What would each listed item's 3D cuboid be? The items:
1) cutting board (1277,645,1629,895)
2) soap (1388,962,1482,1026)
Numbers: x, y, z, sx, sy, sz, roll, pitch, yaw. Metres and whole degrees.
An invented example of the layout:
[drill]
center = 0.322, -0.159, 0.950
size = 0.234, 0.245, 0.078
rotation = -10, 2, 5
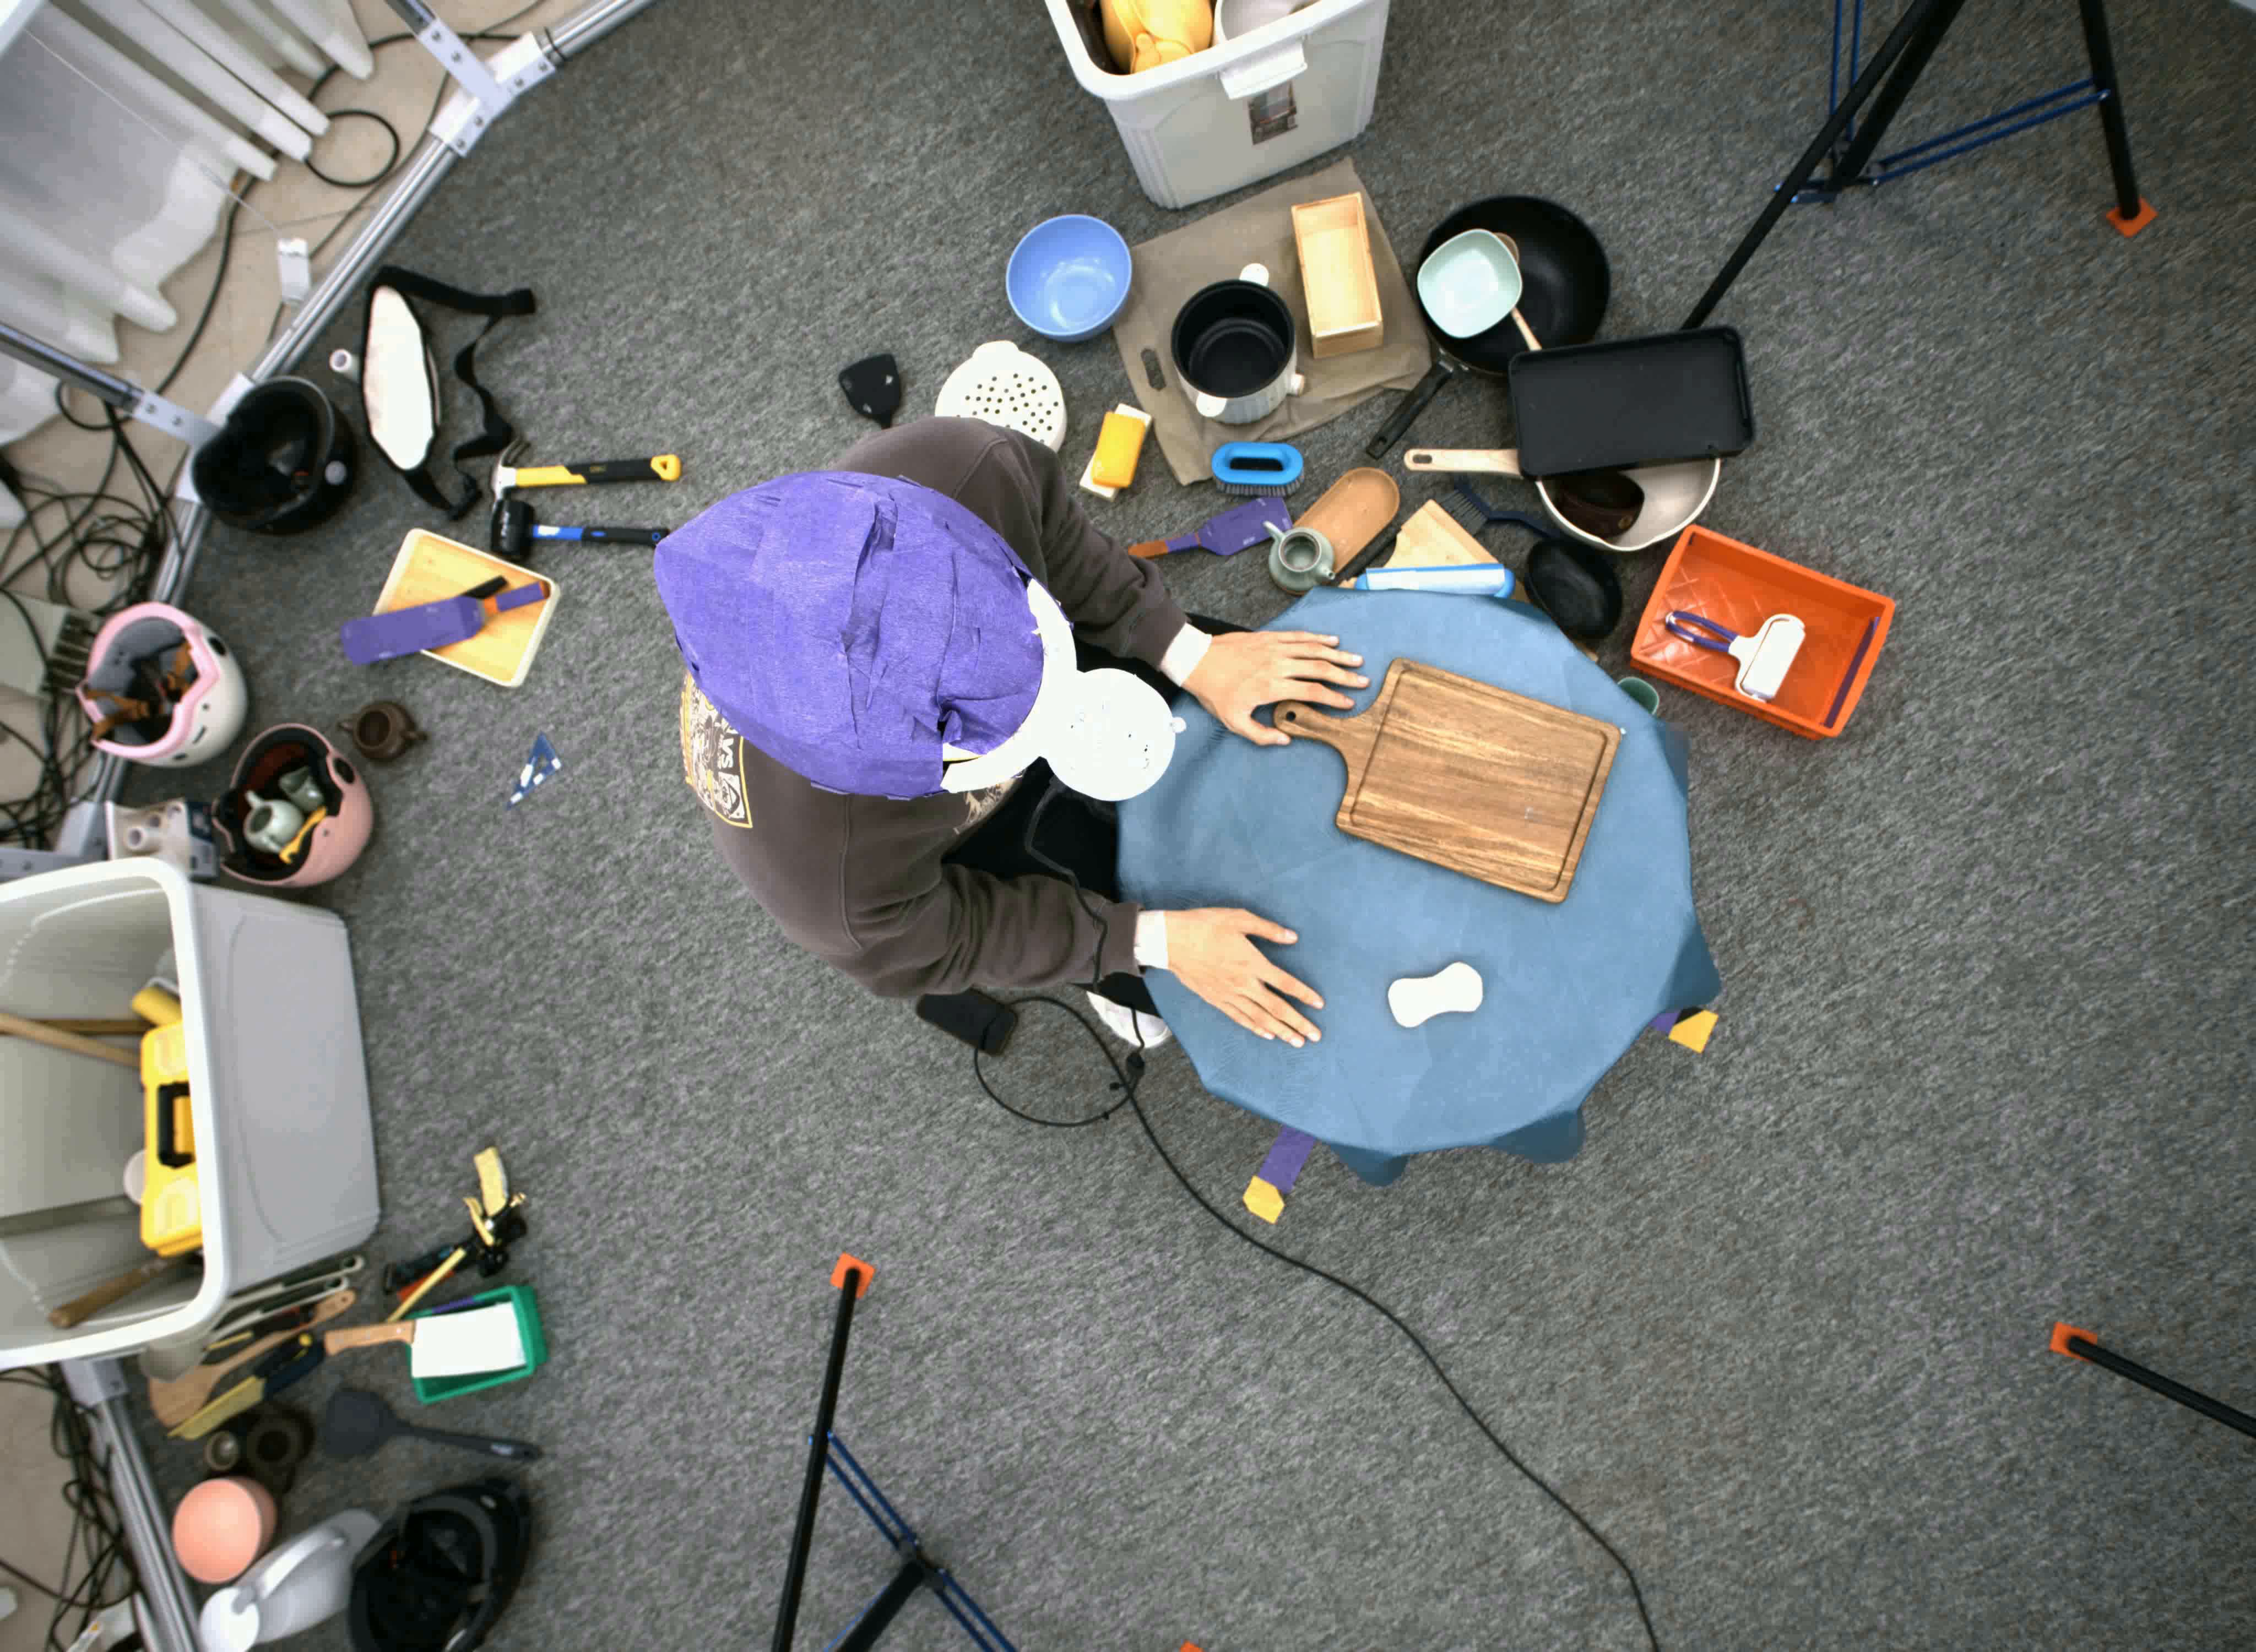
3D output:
[cutting board]
center = 0.325, -0.079, 1.444
size = 0.352, 0.023, 0.201
rotation = 20, 91, 11
[soap]
center = 0.318, 0.172, 1.430
size = 0.095, 0.030, 0.050
rotation = -17, 83, 11
